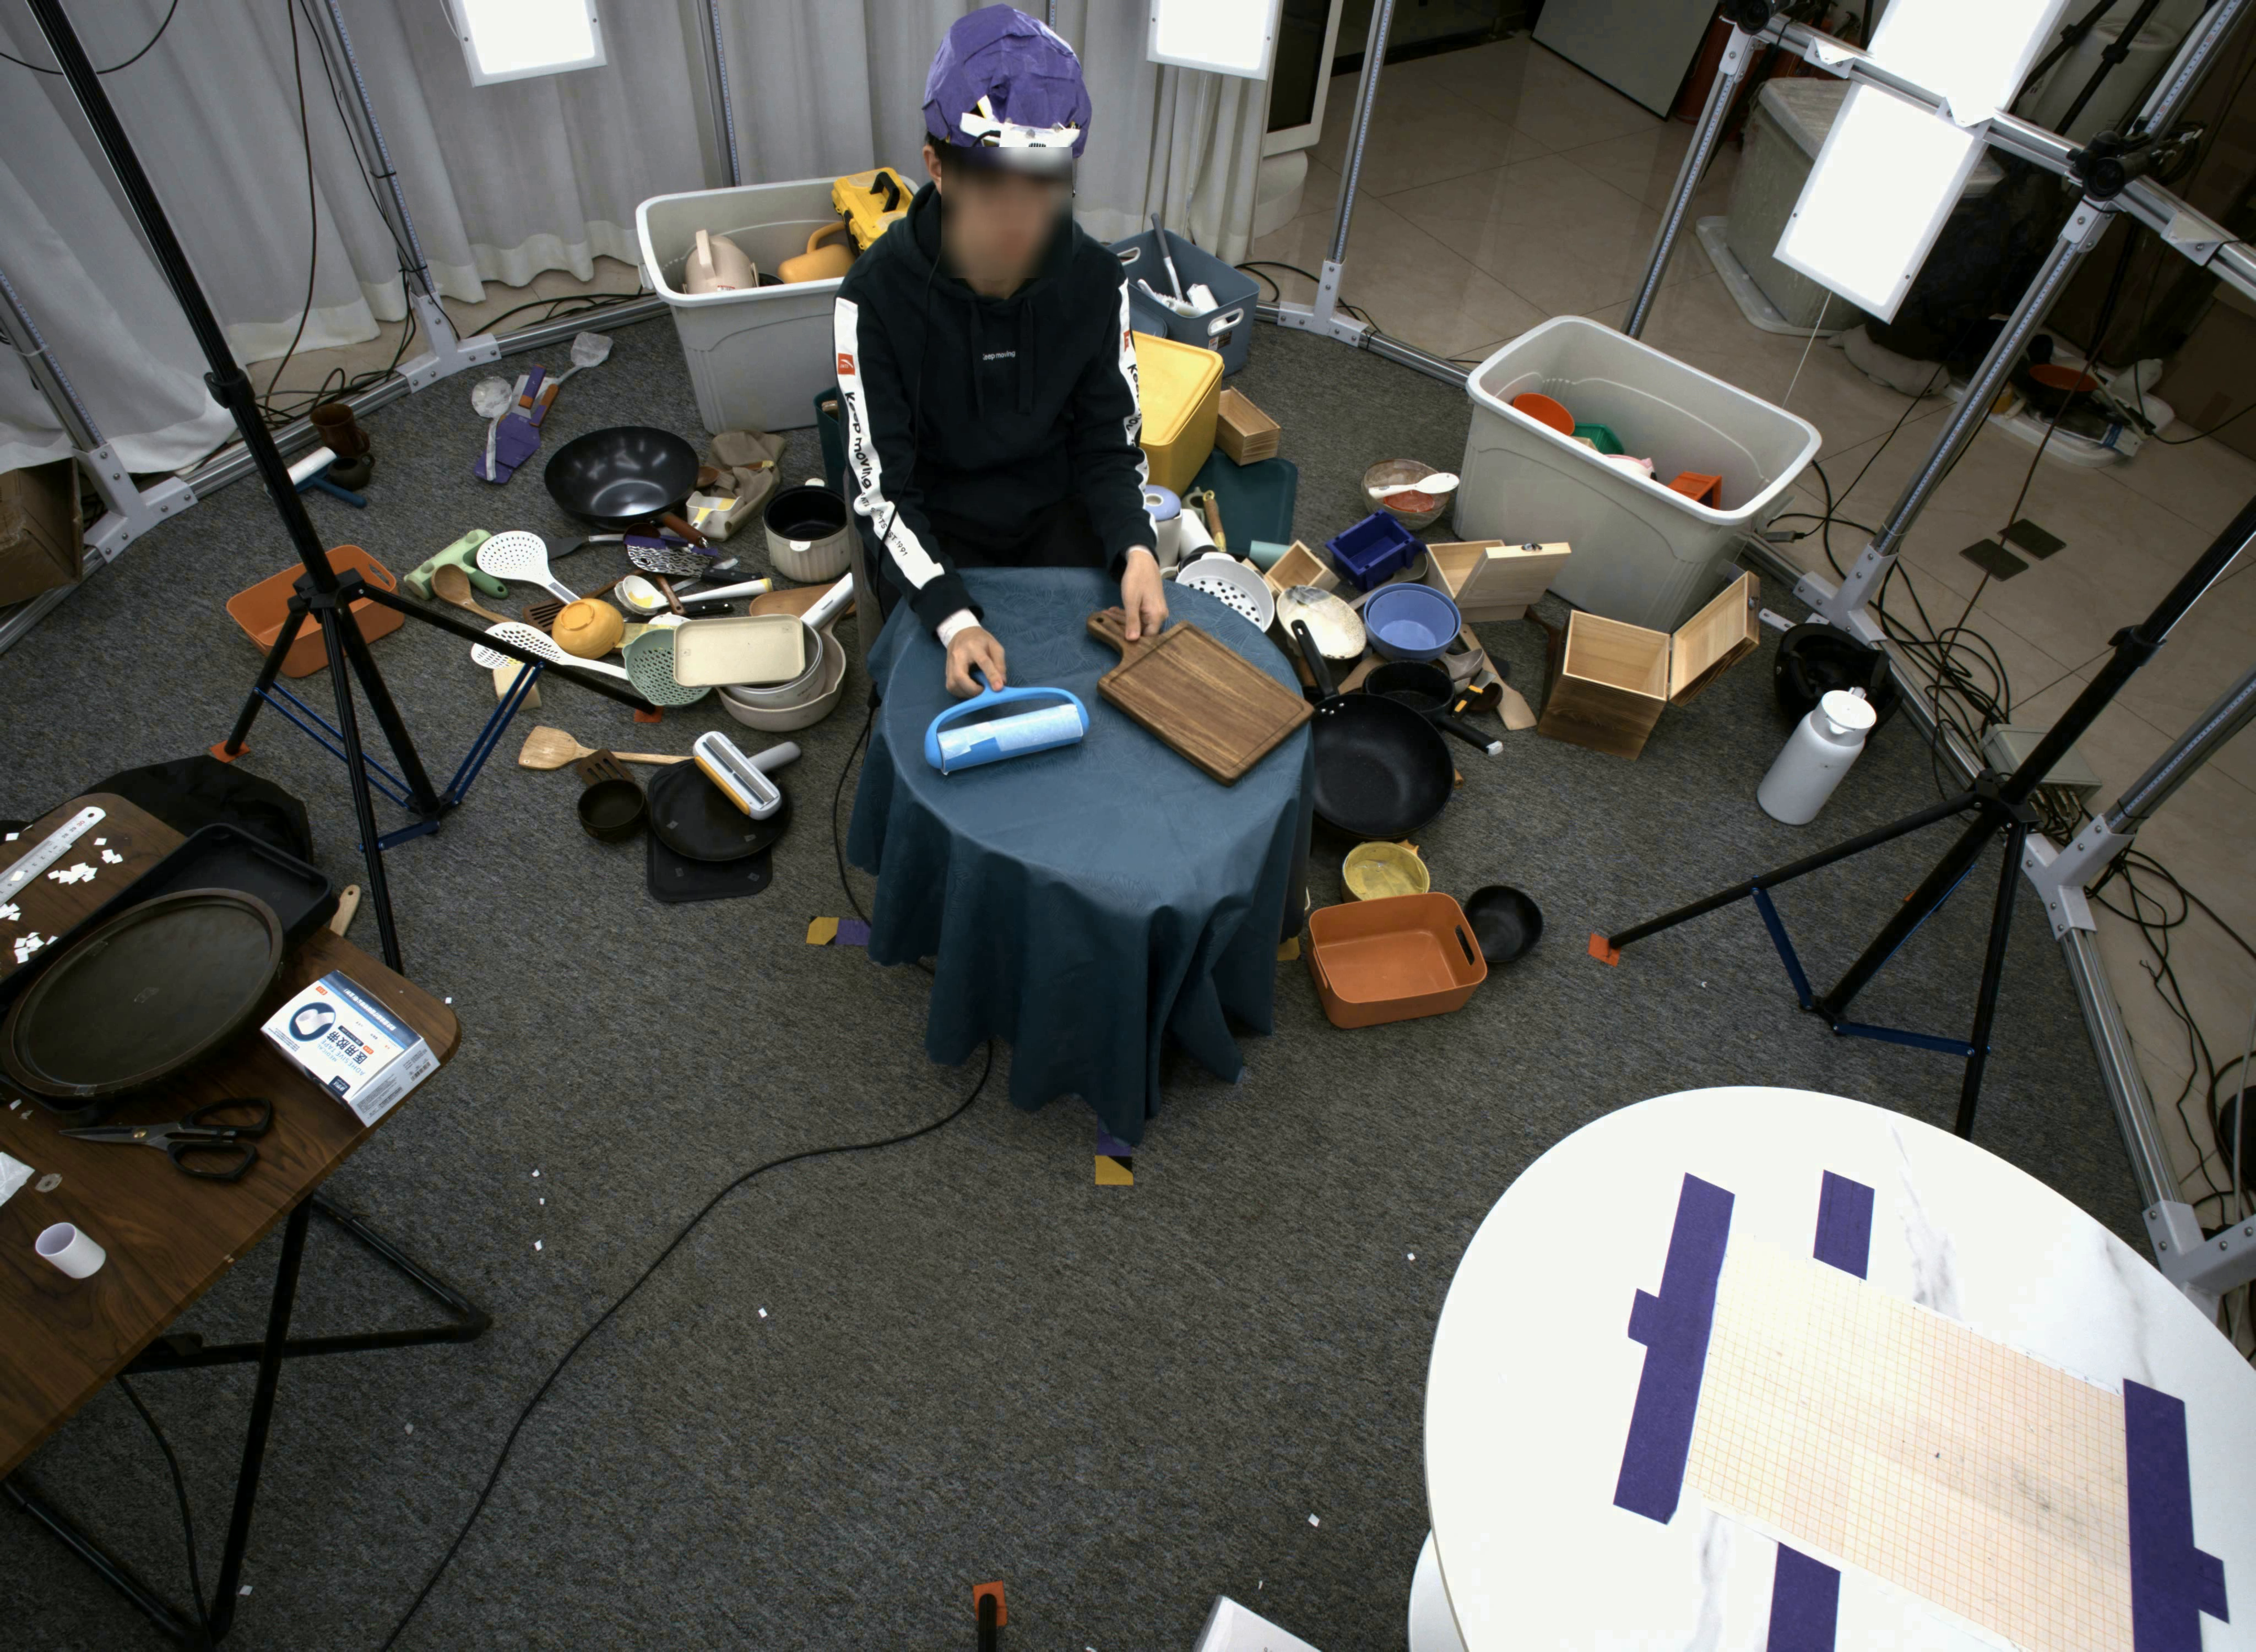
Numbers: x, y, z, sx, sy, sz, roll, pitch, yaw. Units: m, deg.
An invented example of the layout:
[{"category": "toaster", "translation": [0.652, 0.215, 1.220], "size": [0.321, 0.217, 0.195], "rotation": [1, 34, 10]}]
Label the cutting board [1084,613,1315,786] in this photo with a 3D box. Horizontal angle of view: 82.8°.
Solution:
[{"category": "cutting board", "translation": [0.074, -0.208, 1.830], "size": [0.357, 0.022, 0.203], "rotation": [37, 56, 23]}]

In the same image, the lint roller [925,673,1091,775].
[{"category": "lint roller", "translation": [-0.182, -0.162, 1.760], "size": [0.229, 0.066, 0.184], "rotation": [-17, 54, -16]}]
